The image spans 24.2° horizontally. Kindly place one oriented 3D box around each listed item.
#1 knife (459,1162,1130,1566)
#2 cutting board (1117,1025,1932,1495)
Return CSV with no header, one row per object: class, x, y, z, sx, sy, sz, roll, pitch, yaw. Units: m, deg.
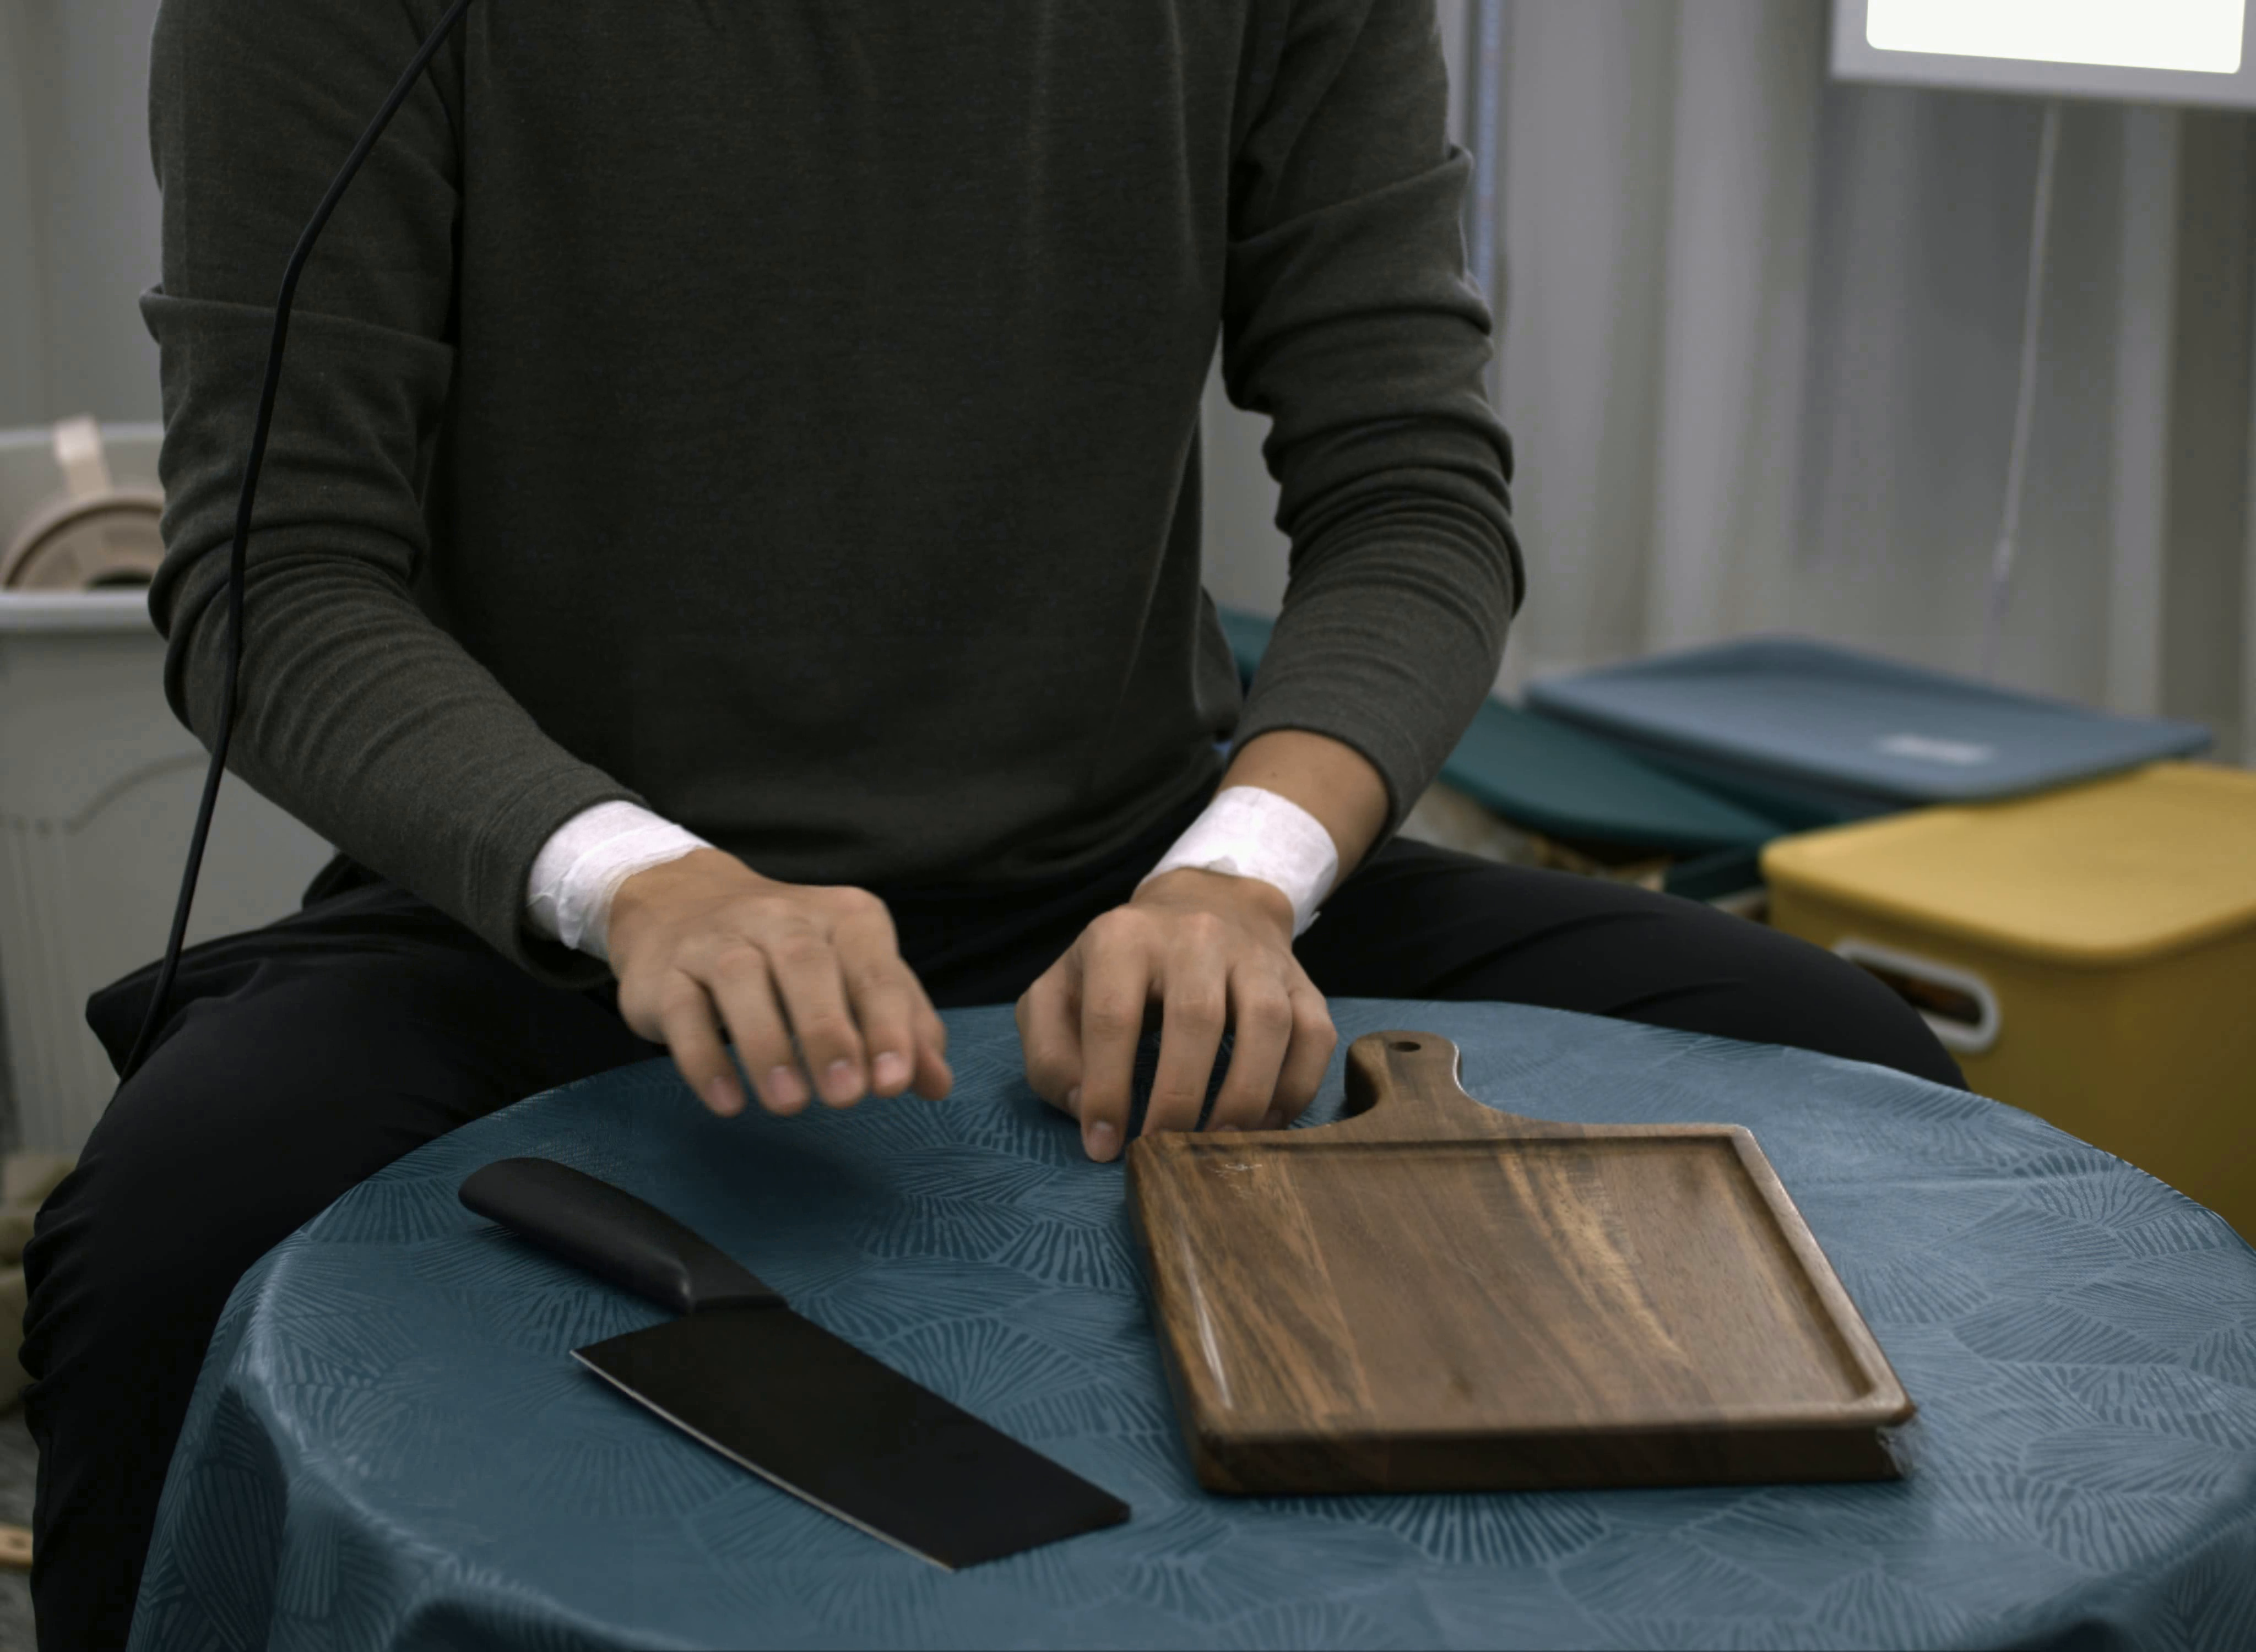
knife,-0.109,0.147,1.469,0.081,0.021,0.298,-10,21,-31
cutting board,0.102,0.121,1.558,0.201,0.023,0.349,0,15,-5
